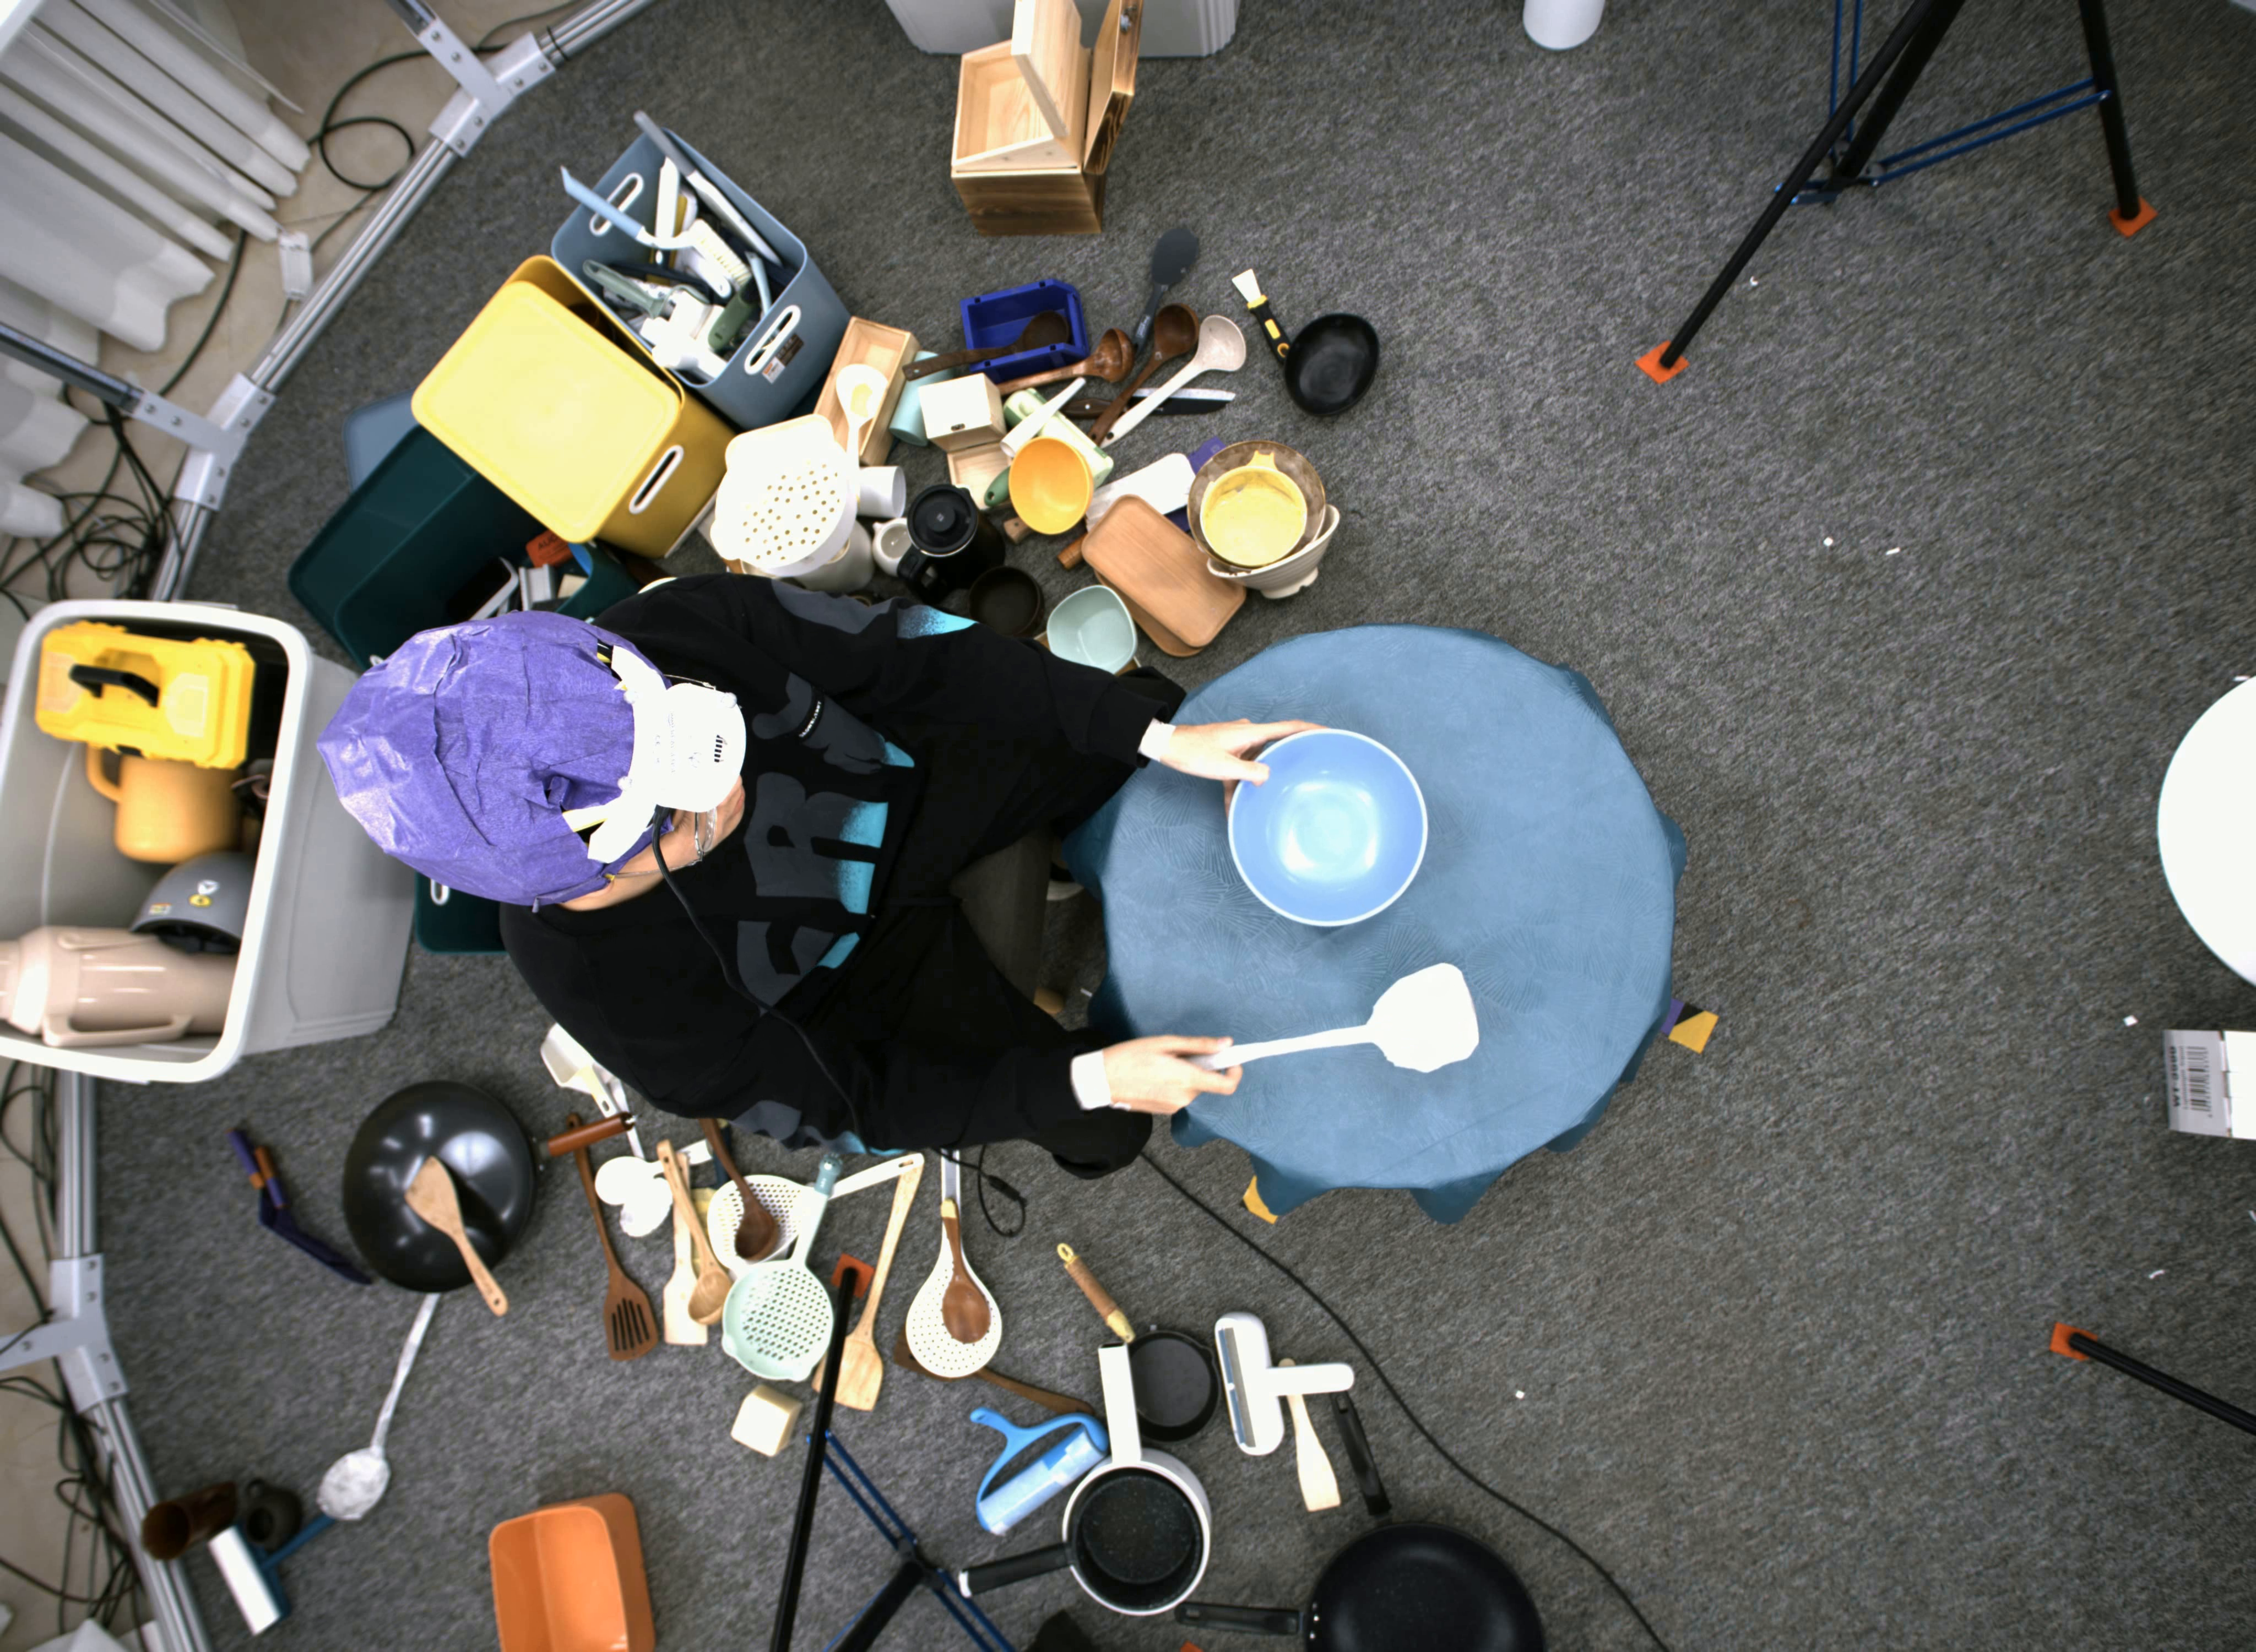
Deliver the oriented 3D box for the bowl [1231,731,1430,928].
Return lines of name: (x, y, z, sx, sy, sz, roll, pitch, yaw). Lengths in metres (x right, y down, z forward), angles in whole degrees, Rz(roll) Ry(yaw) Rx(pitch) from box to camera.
bowl: (0.206, 0.006, 1.415, 0.197, 0.095, 0.196, 0, 88, 9)

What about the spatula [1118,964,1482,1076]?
spatula: (0.166, 0.212, 1.377, 0.366, 0.045, 0.097, -10, 68, 7)
